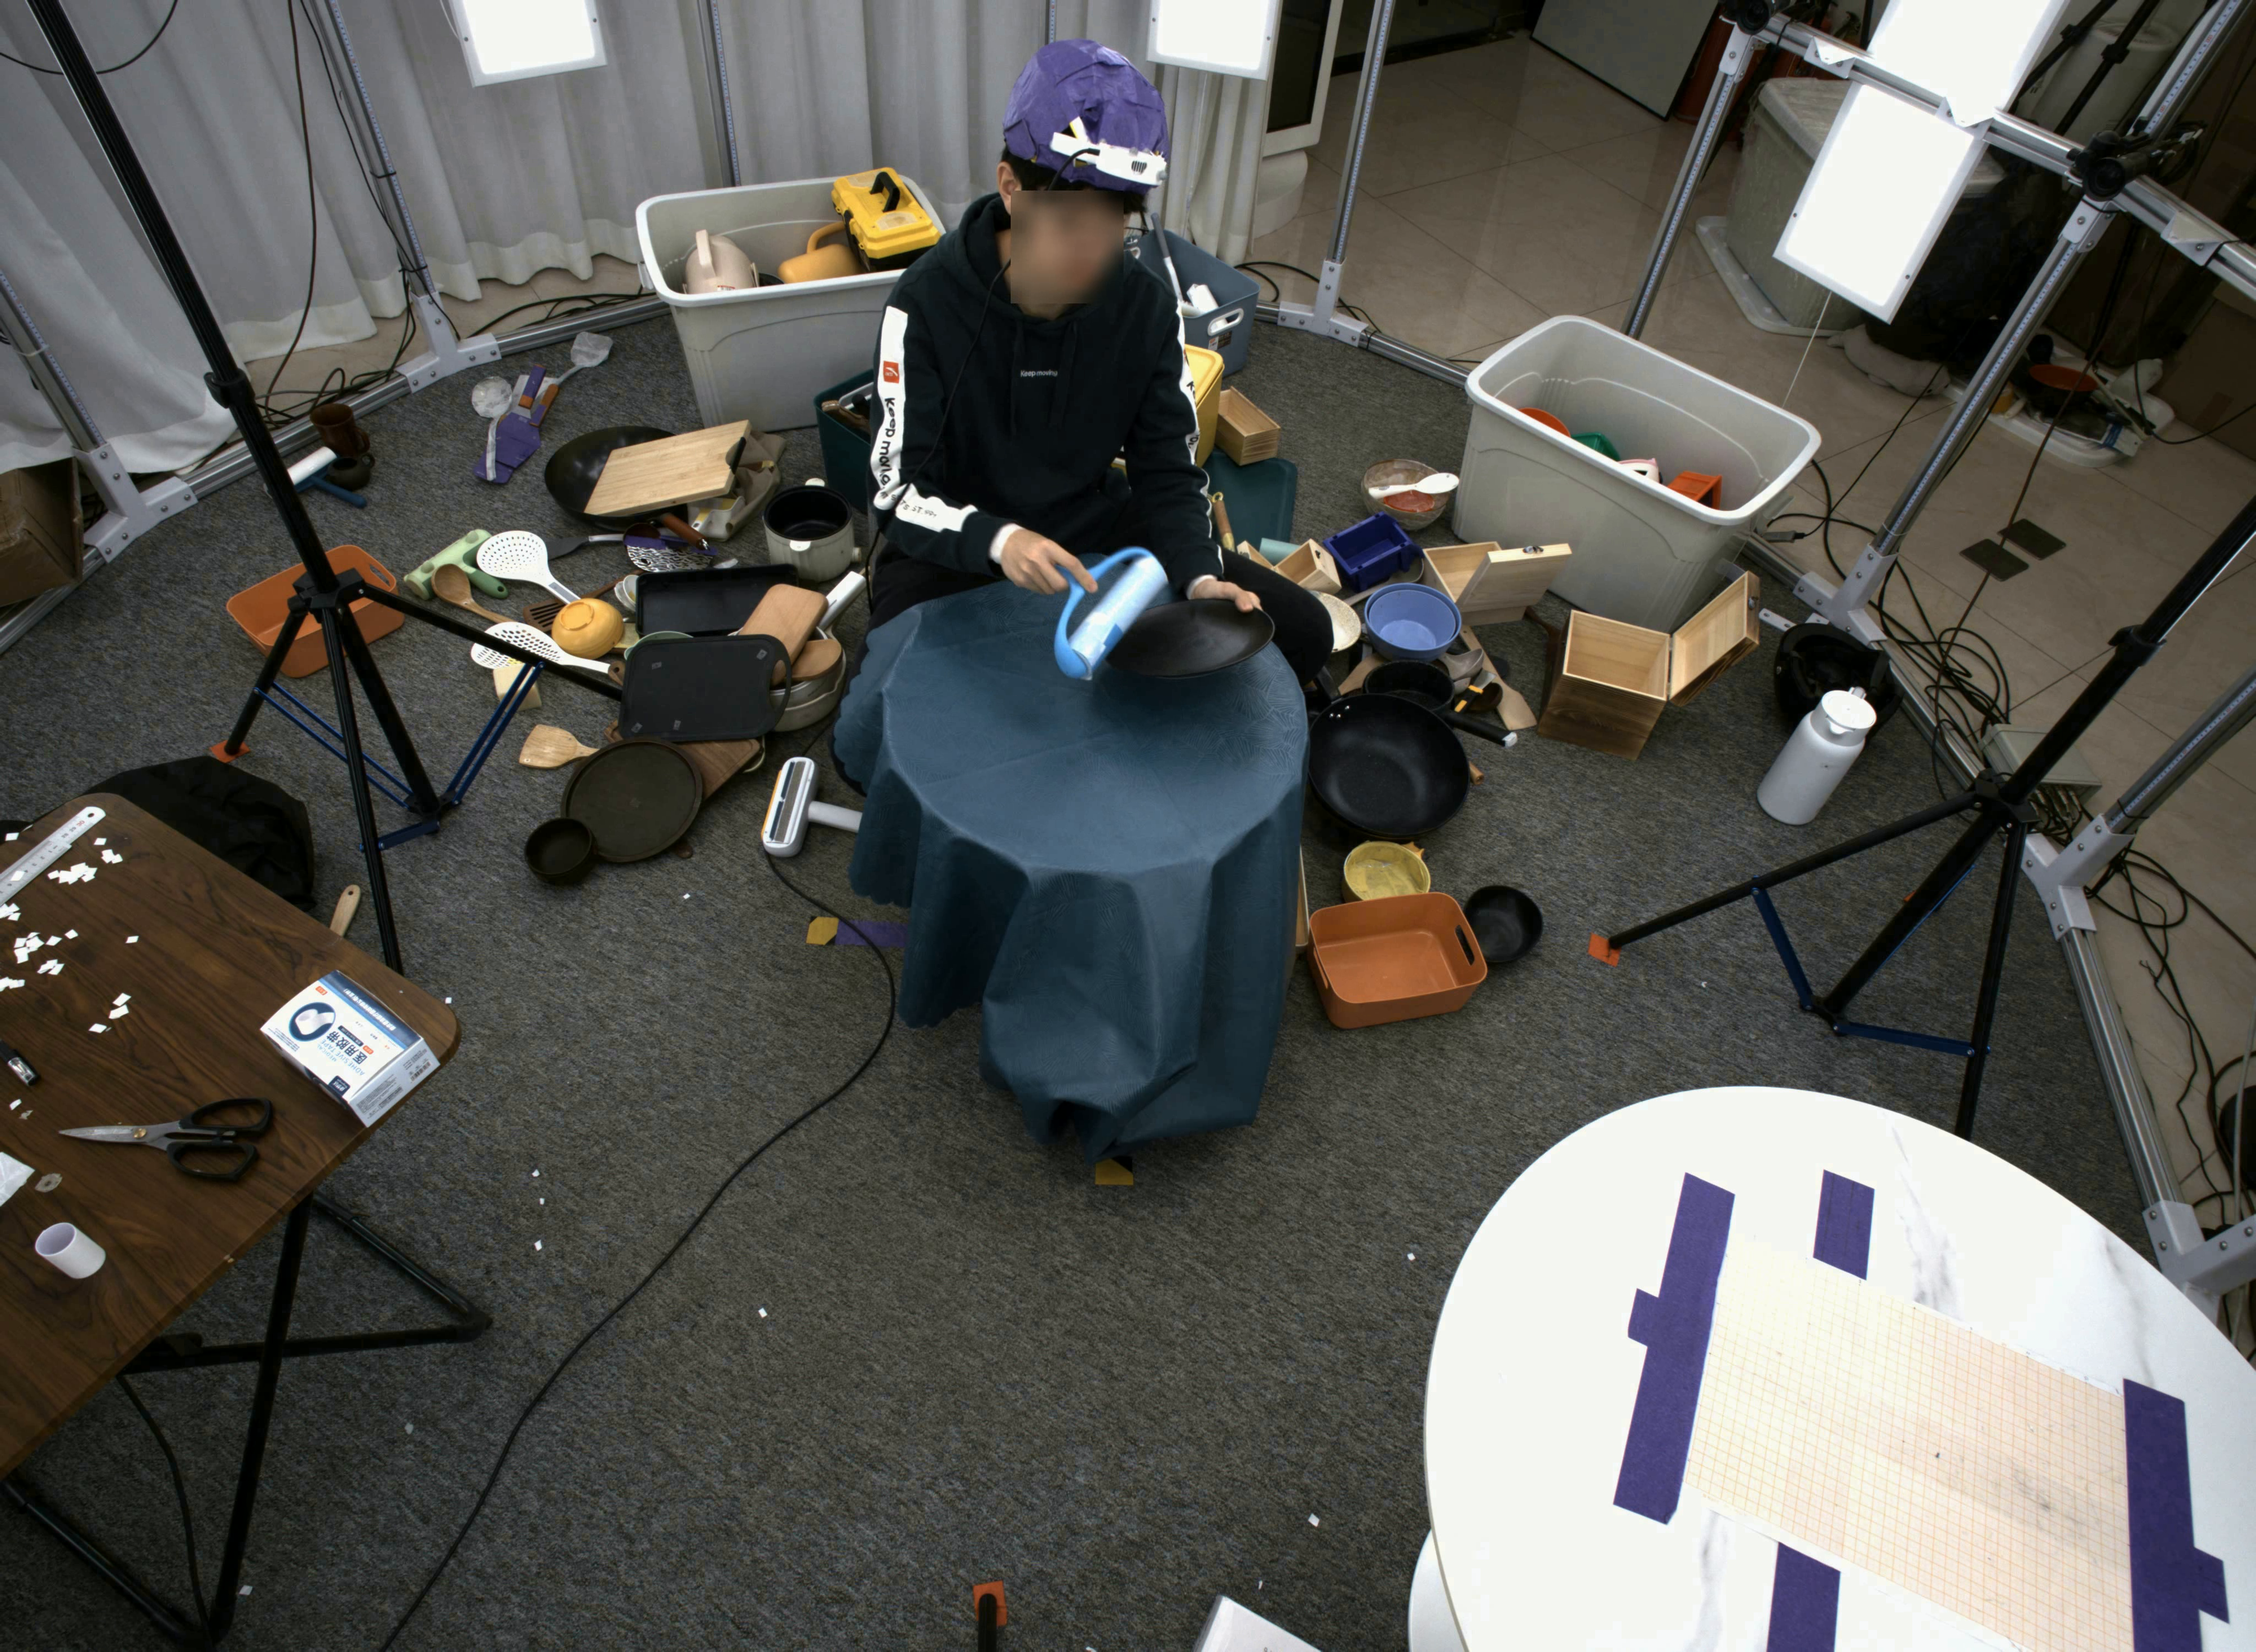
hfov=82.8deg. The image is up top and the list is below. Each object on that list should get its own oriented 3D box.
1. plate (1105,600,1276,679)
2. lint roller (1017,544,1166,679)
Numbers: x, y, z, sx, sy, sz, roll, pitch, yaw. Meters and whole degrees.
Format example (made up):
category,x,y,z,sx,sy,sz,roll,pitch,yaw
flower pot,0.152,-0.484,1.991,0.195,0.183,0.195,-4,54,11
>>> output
category,x,y,z,sx,sy,sz,roll,pitch,yaw
plate,0.085,-0.256,1.790,0.244,0.023,0.250,-7,32,4
lint roller,-0.070,-0.314,1.737,0.181,0.066,0.232,28,63,8
